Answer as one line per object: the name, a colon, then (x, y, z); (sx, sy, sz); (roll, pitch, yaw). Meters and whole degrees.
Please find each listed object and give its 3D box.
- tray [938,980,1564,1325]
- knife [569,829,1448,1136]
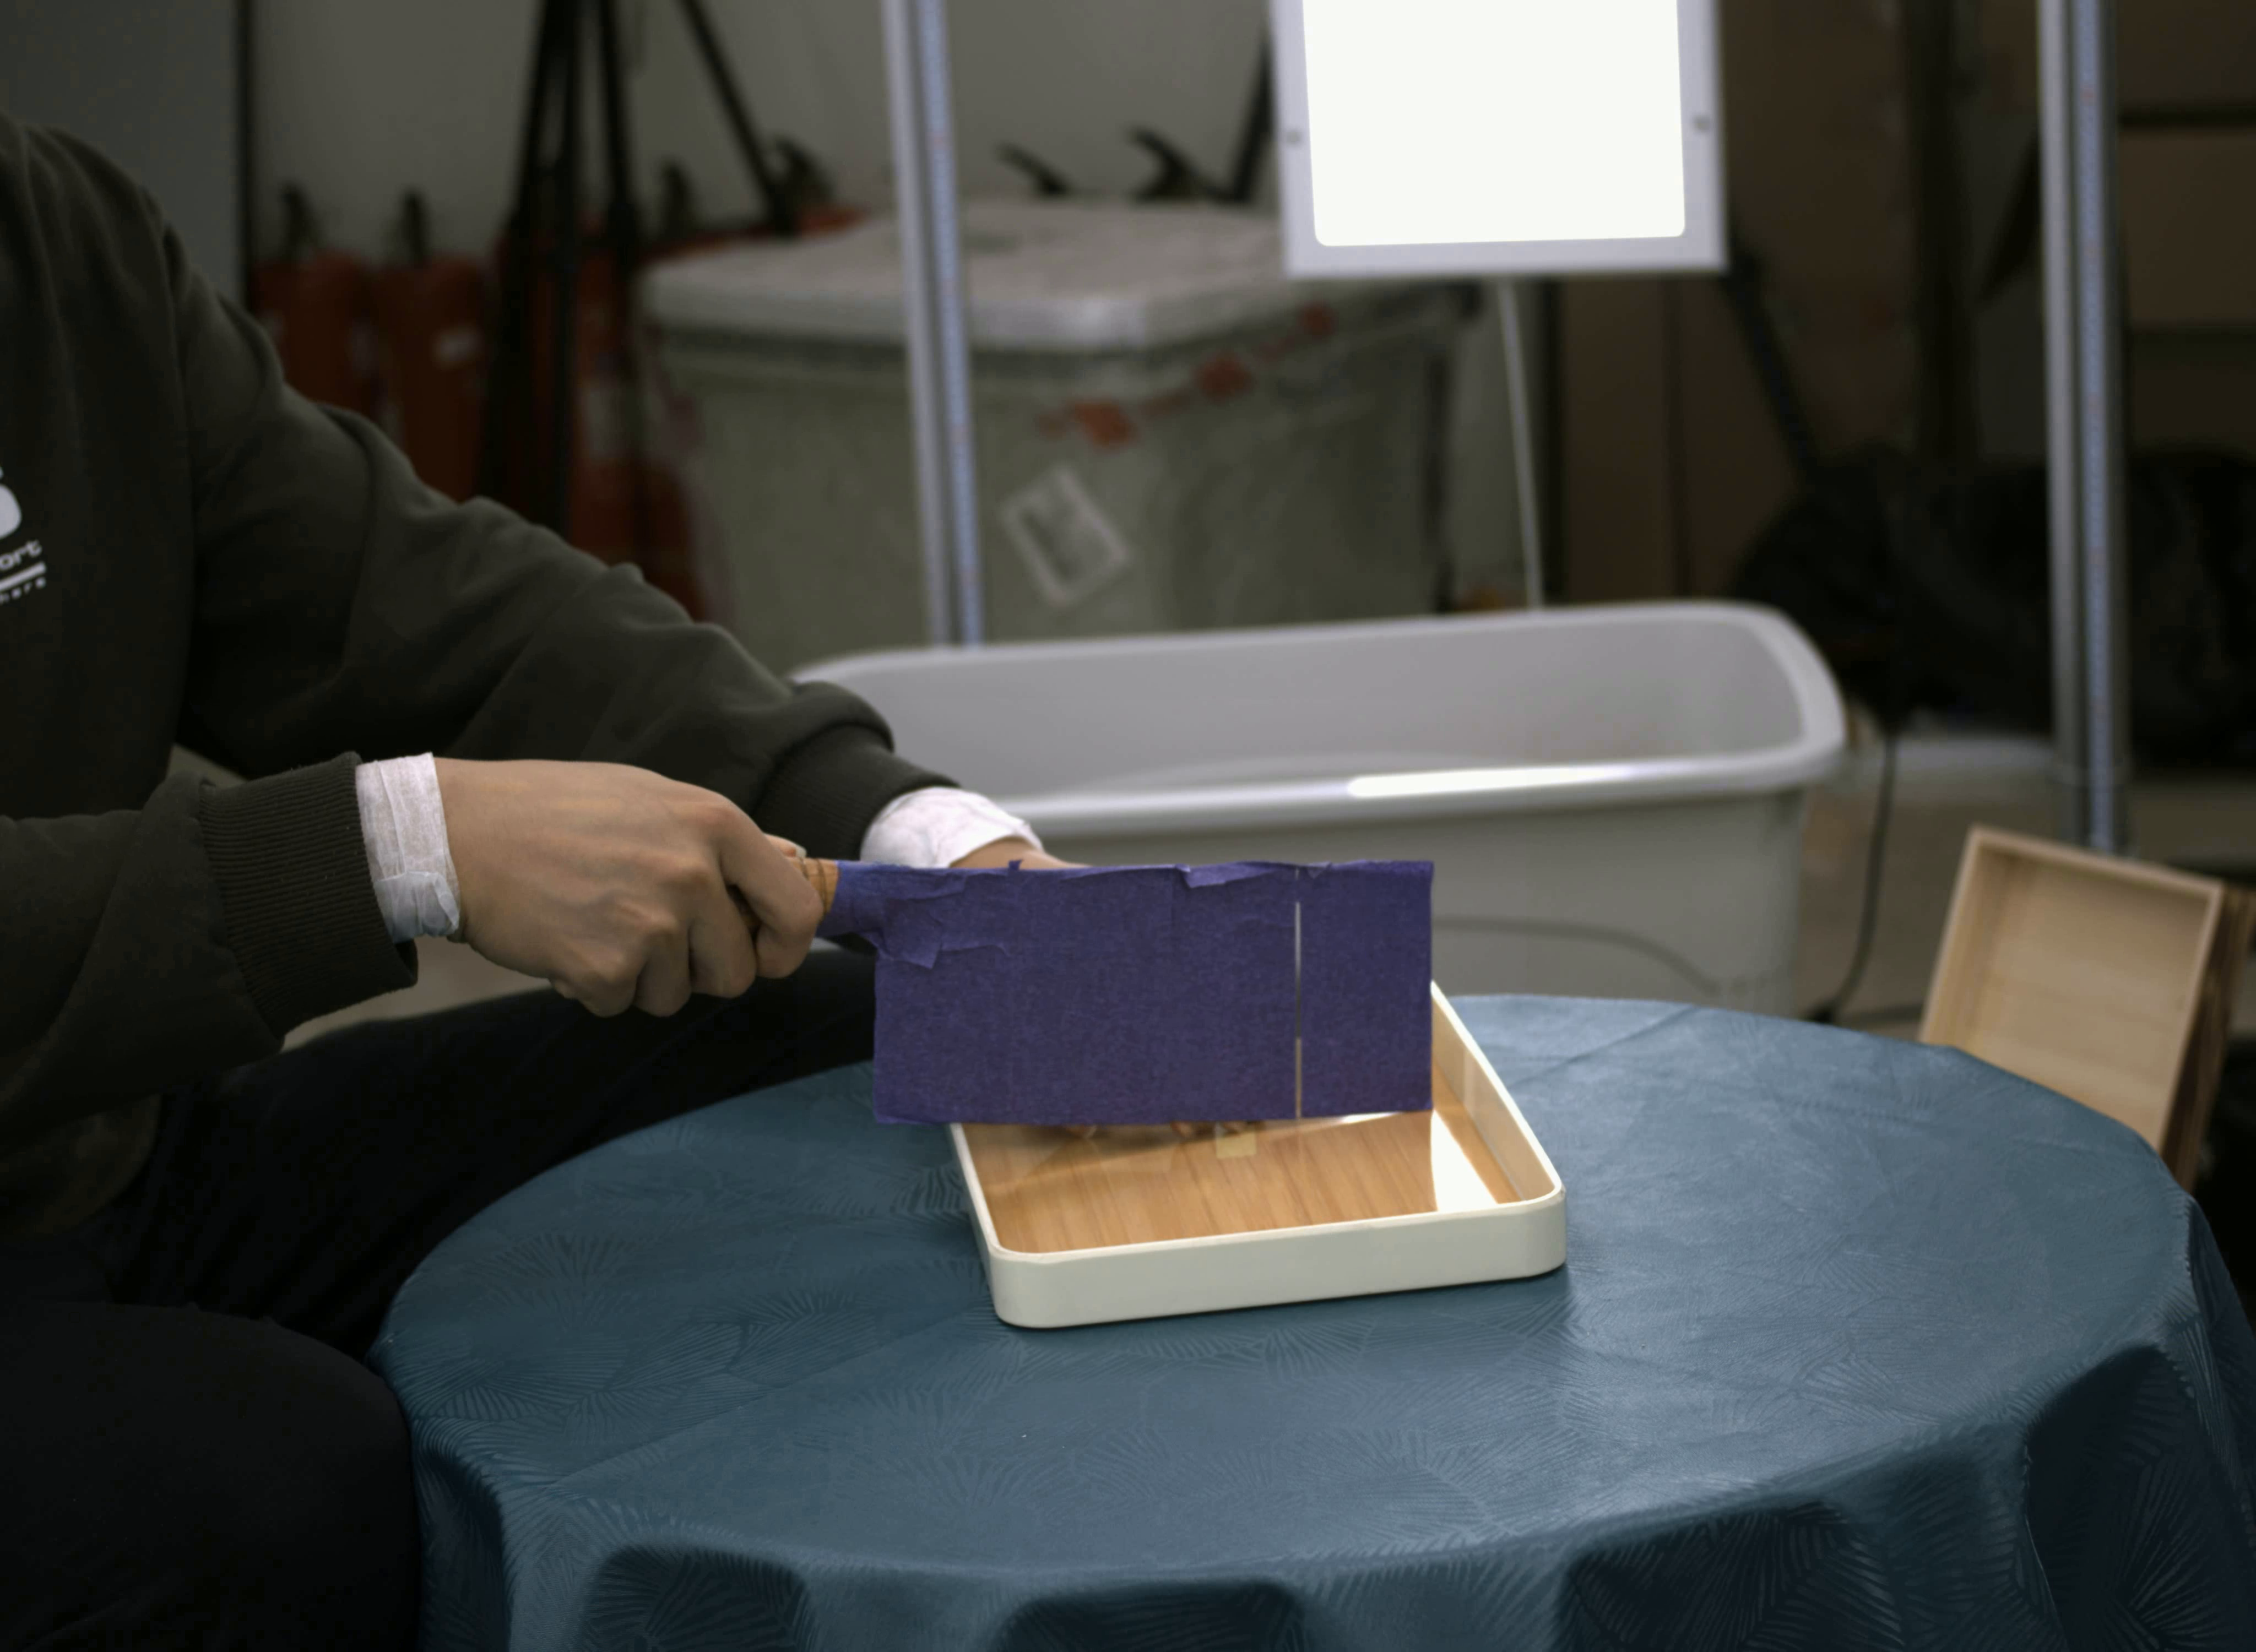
tray: (0.034, 0.107, 1.909); (0.190, 0.027, 0.301); (-6, 14, -4)
knife: (-0.036, 0.057, 1.900); (0.311, 0.104, 0.032); (-2, 4, -14)
